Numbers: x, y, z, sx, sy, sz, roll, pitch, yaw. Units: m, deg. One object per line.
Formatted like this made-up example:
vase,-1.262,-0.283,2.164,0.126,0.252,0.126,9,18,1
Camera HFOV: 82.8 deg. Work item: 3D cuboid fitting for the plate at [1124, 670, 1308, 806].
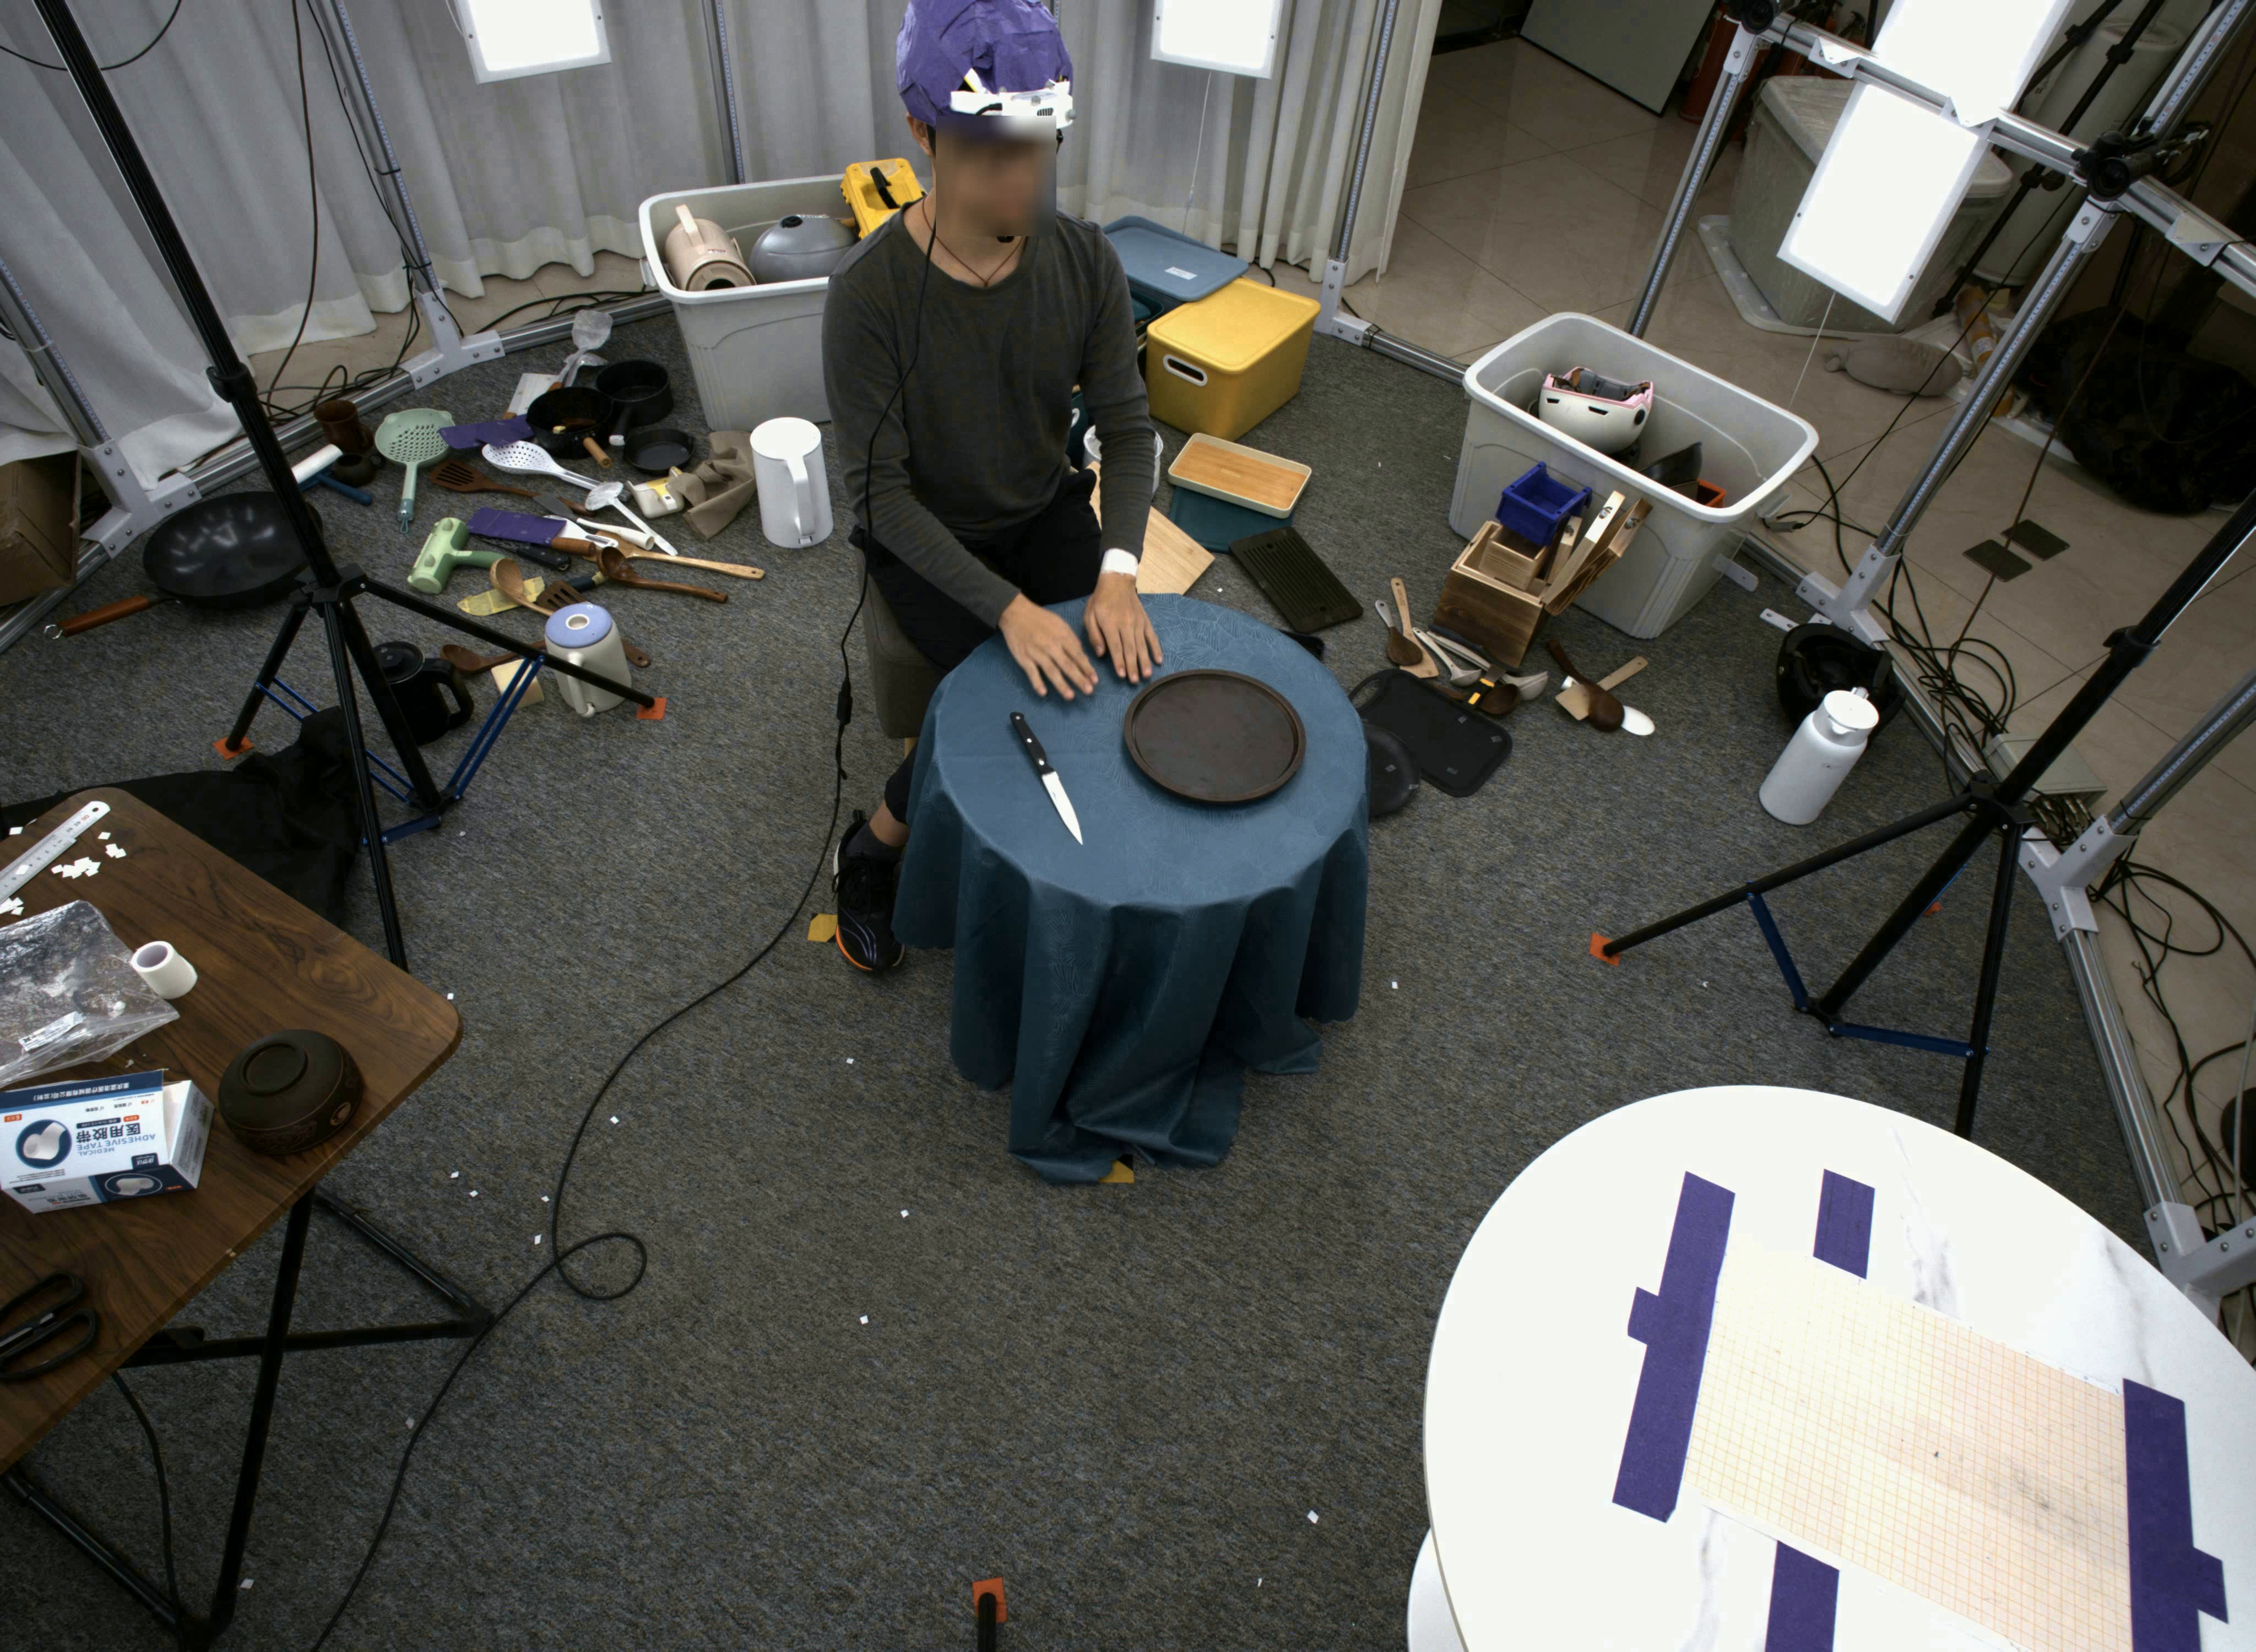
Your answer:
plate,0.120,-0.123,1.767,0.254,0.028,0.261,2,49,-3

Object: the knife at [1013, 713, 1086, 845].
knife,-0.106,-0.064,1.708,0.024,0.016,0.243,-17,55,-17
